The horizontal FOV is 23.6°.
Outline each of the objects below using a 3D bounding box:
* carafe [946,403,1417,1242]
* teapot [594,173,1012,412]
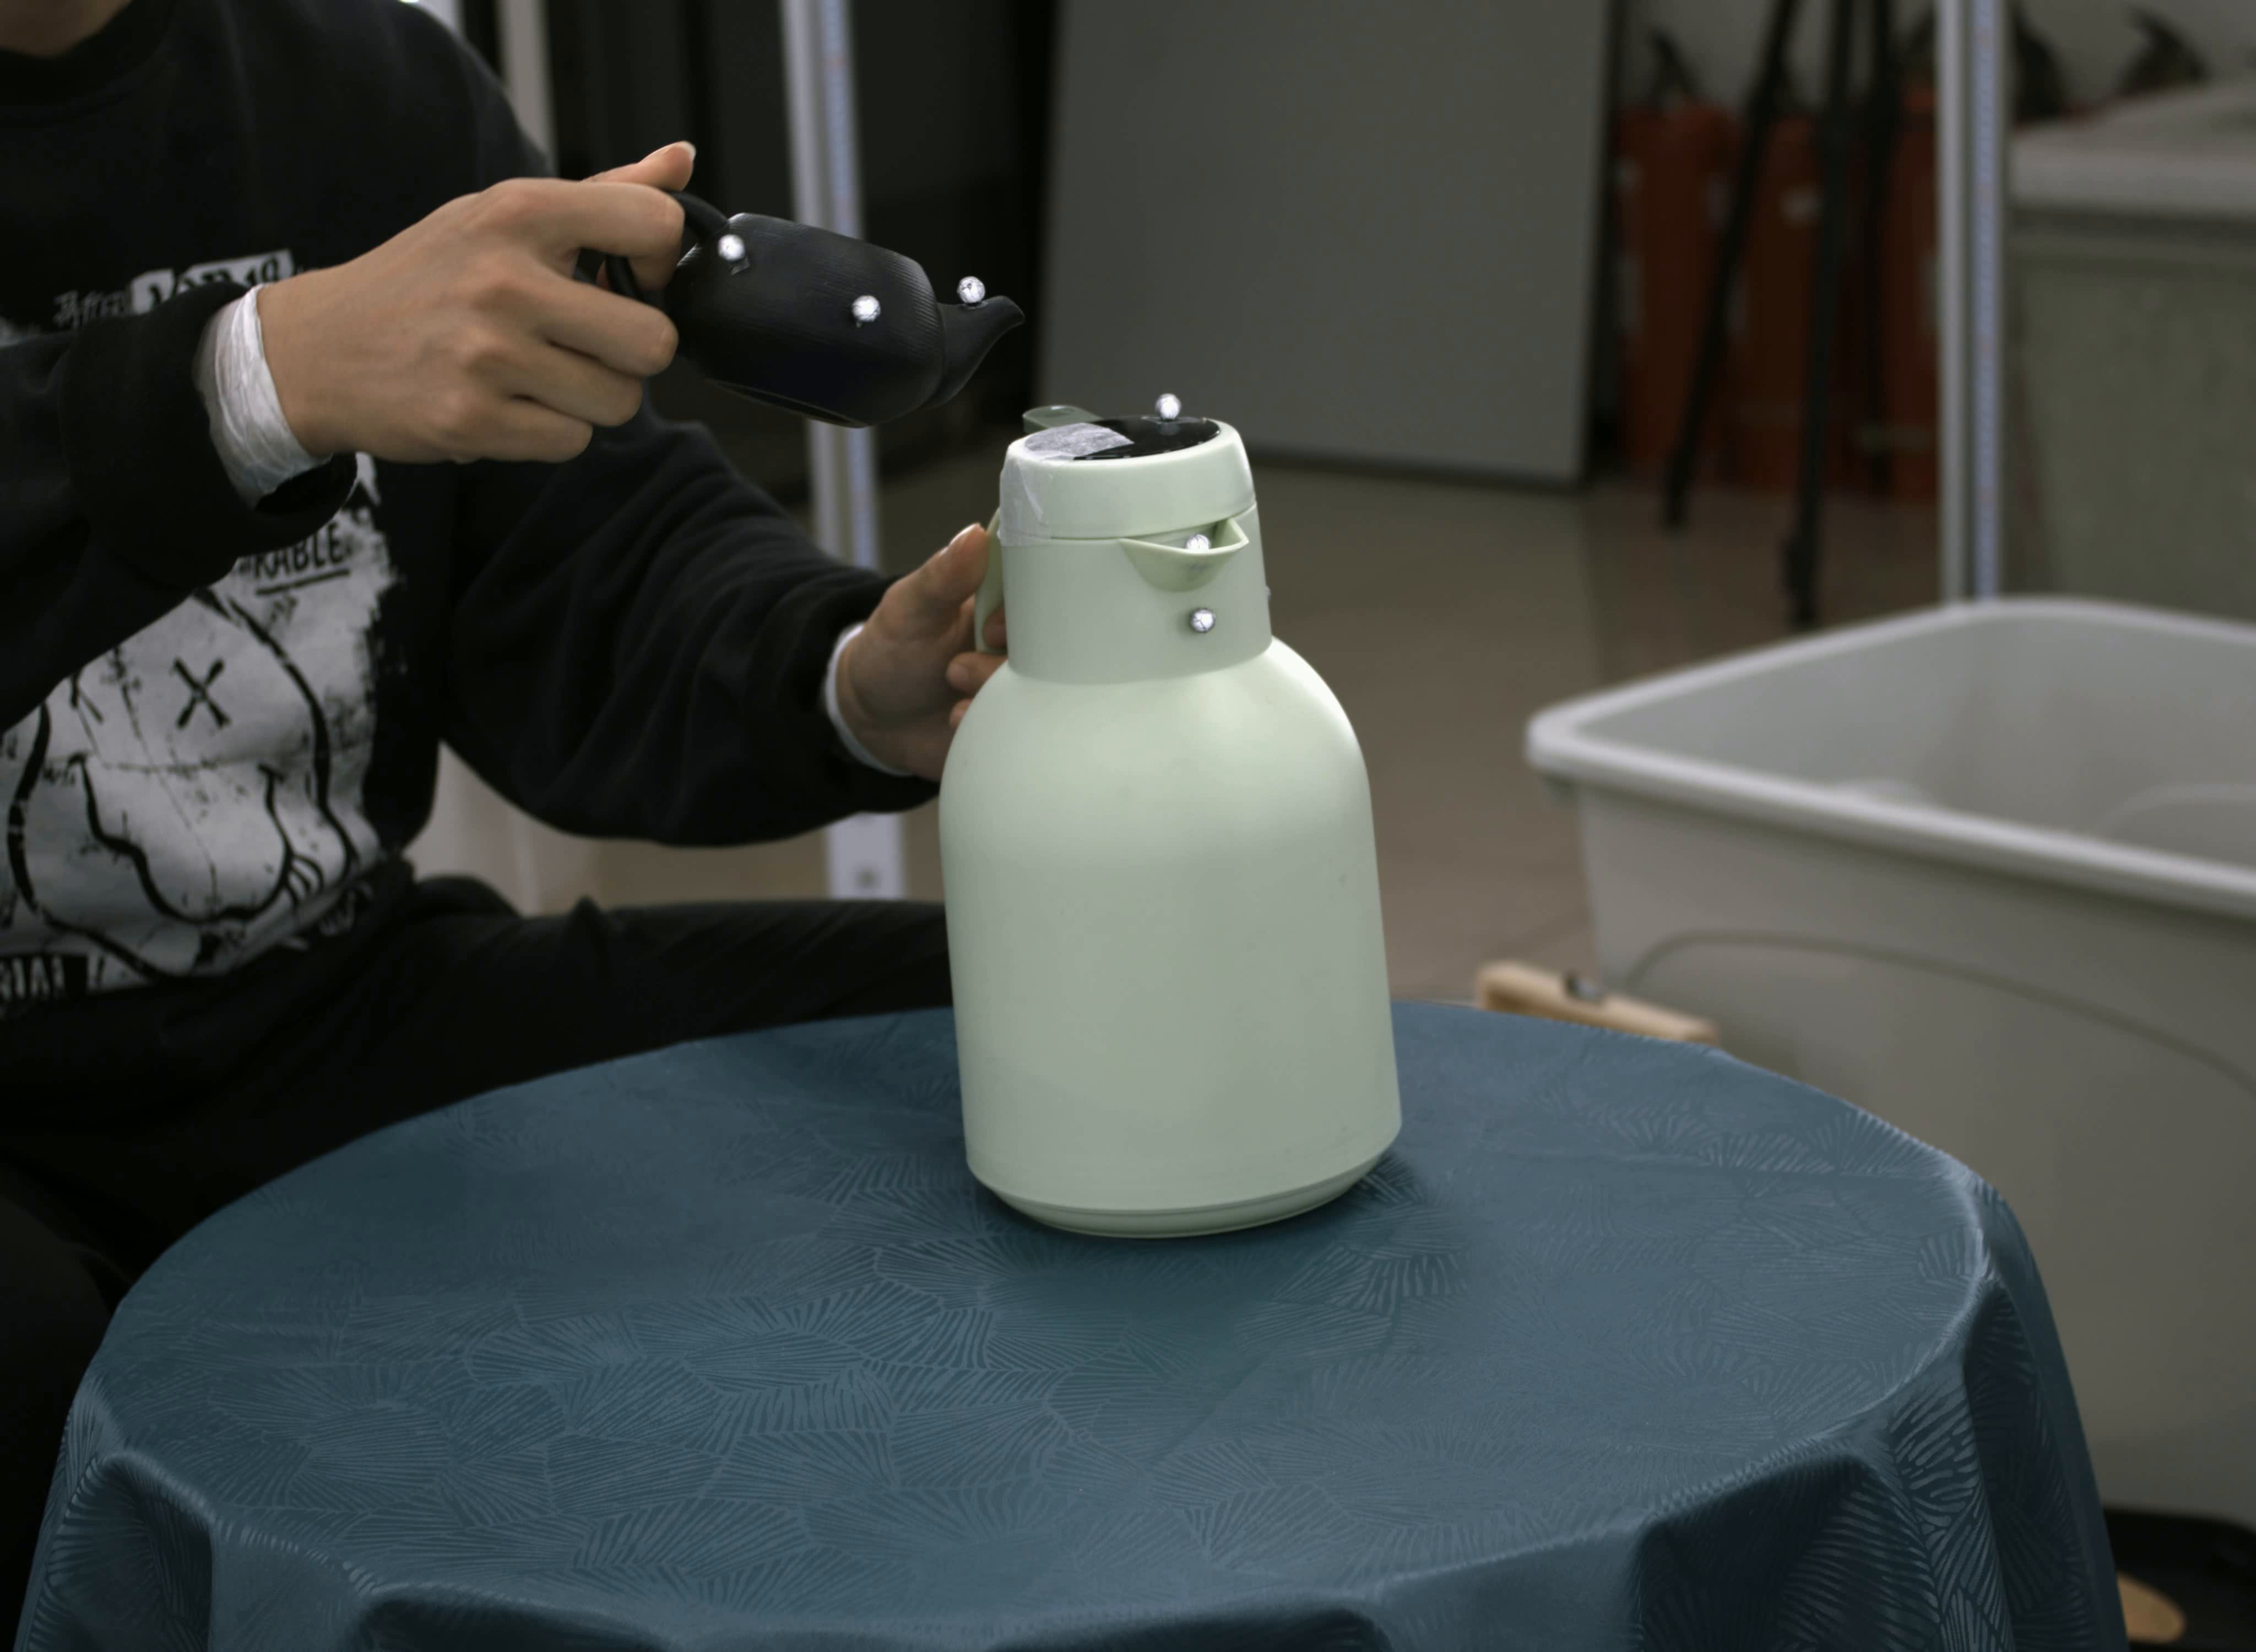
[{"bbox_3d":[0.004,-0.008,1.761,0.141,0.259,0.188,-13,13,-21],"label":"carafe"},{"bbox_3d":[-0.102,-0.159,1.660,0.131,0.053,0.091,16,-3,-16],"label":"teapot"}]
